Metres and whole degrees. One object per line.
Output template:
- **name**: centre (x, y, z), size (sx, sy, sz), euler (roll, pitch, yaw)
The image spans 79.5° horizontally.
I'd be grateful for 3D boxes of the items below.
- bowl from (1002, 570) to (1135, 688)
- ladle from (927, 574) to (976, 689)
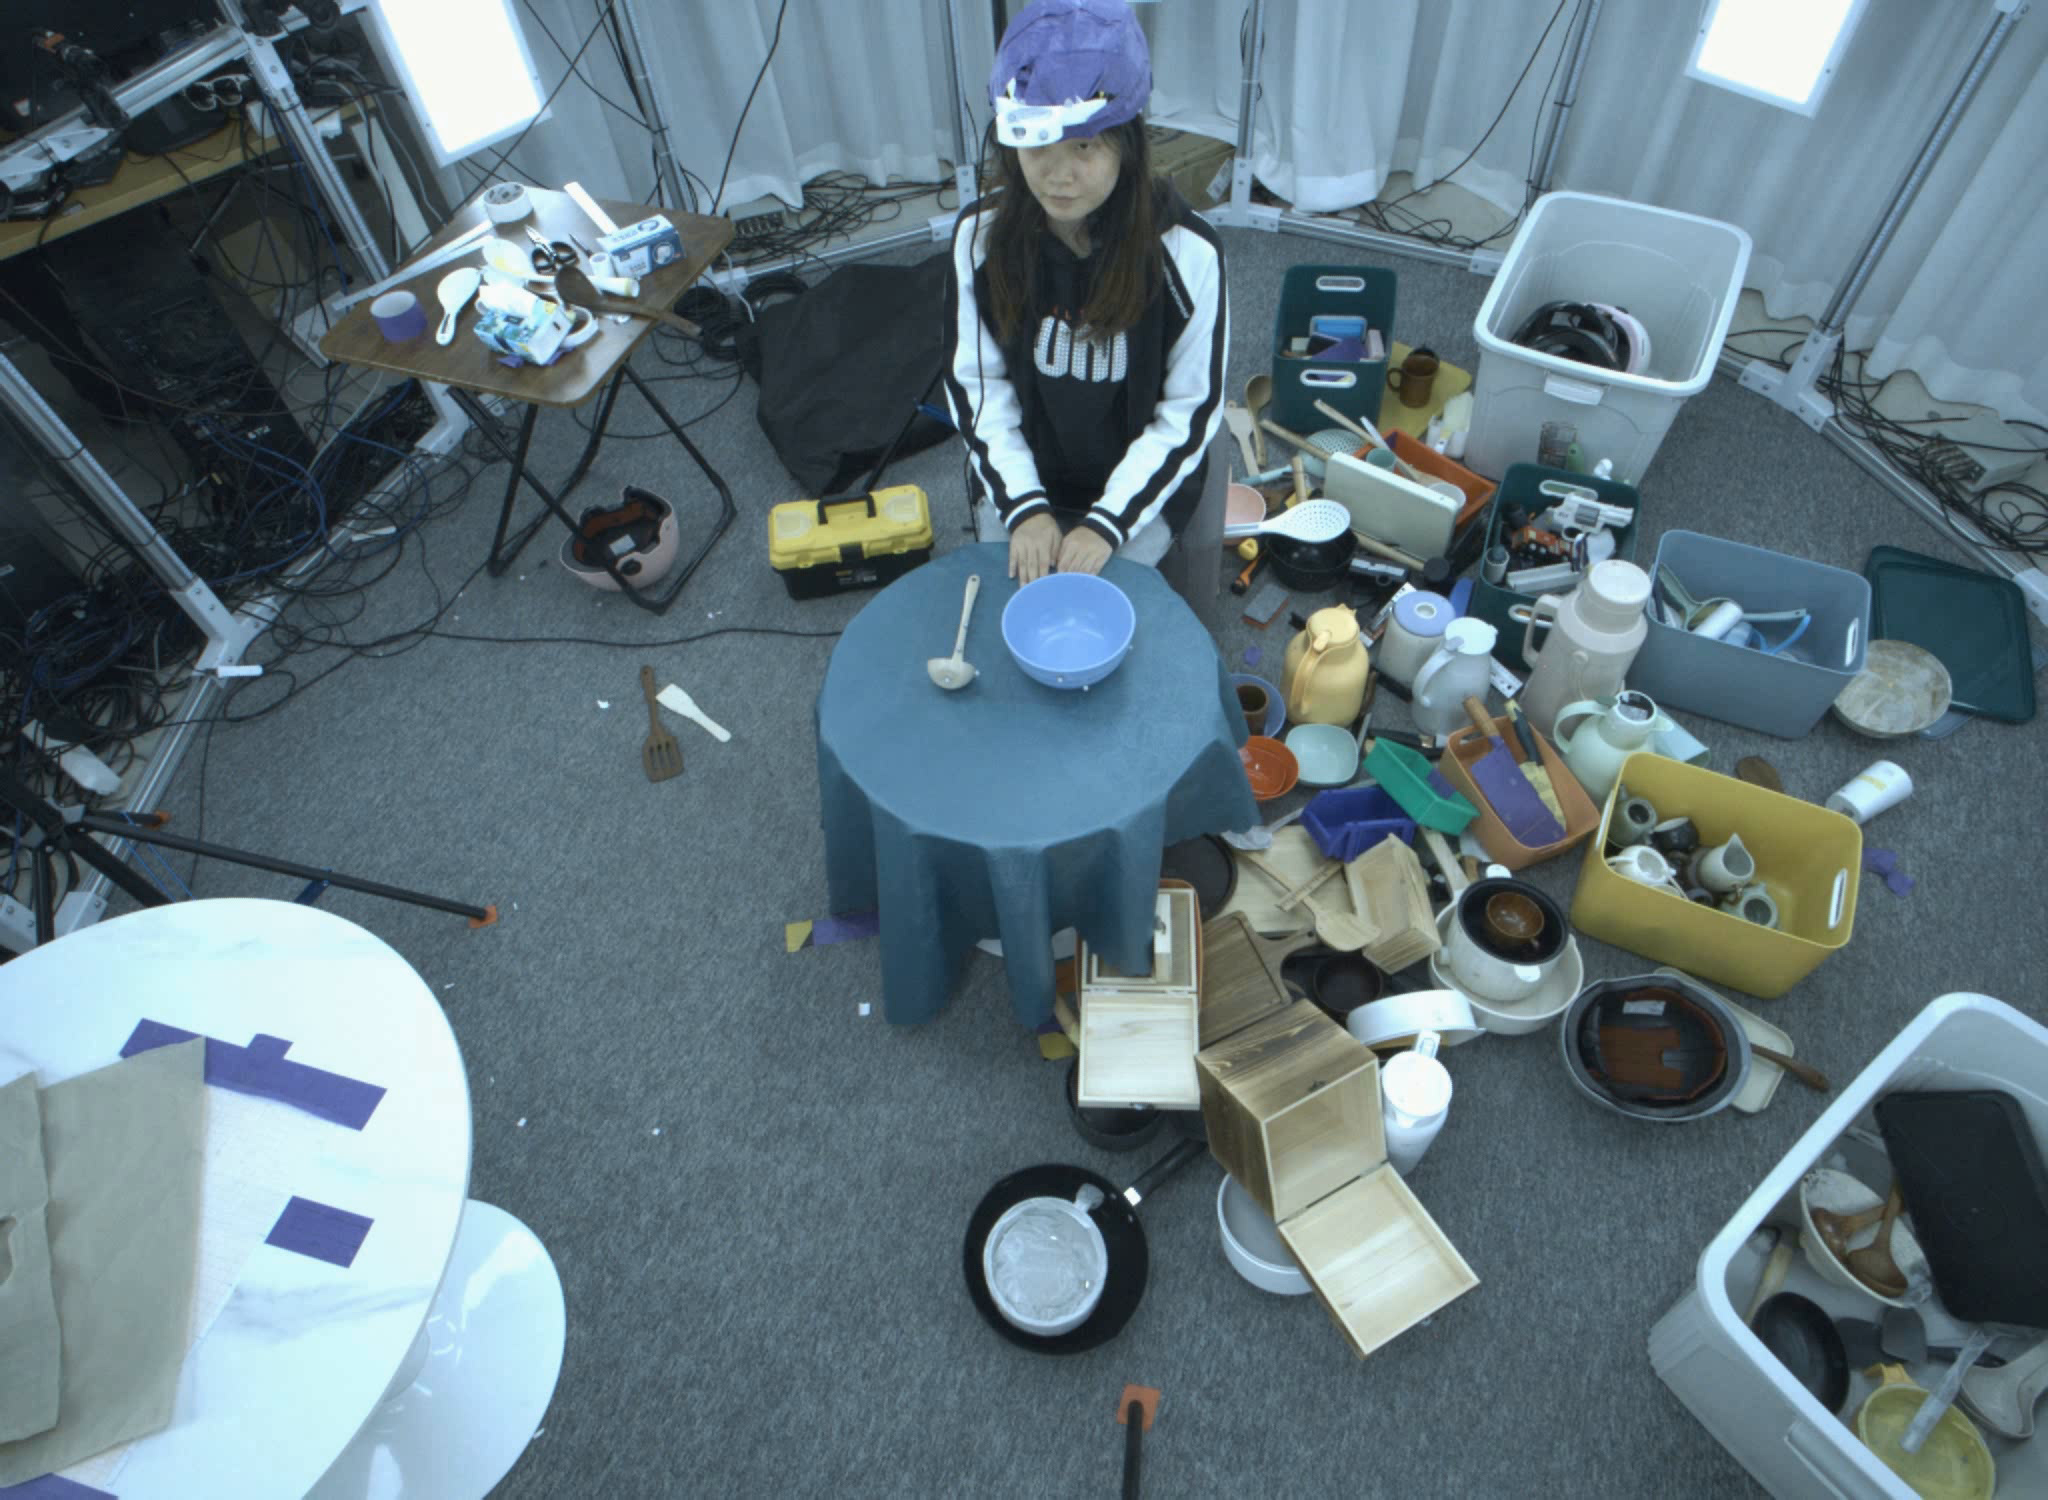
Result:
- **bowl**: centre (0.067, -0.165, 1.843), size (0.196, 0.096, 0.194), euler (0, 57, 2)
- **ladle**: centre (-0.100, -0.204, 1.890), size (0.072, 0.073, 0.252), euler (4, 55, 4)
